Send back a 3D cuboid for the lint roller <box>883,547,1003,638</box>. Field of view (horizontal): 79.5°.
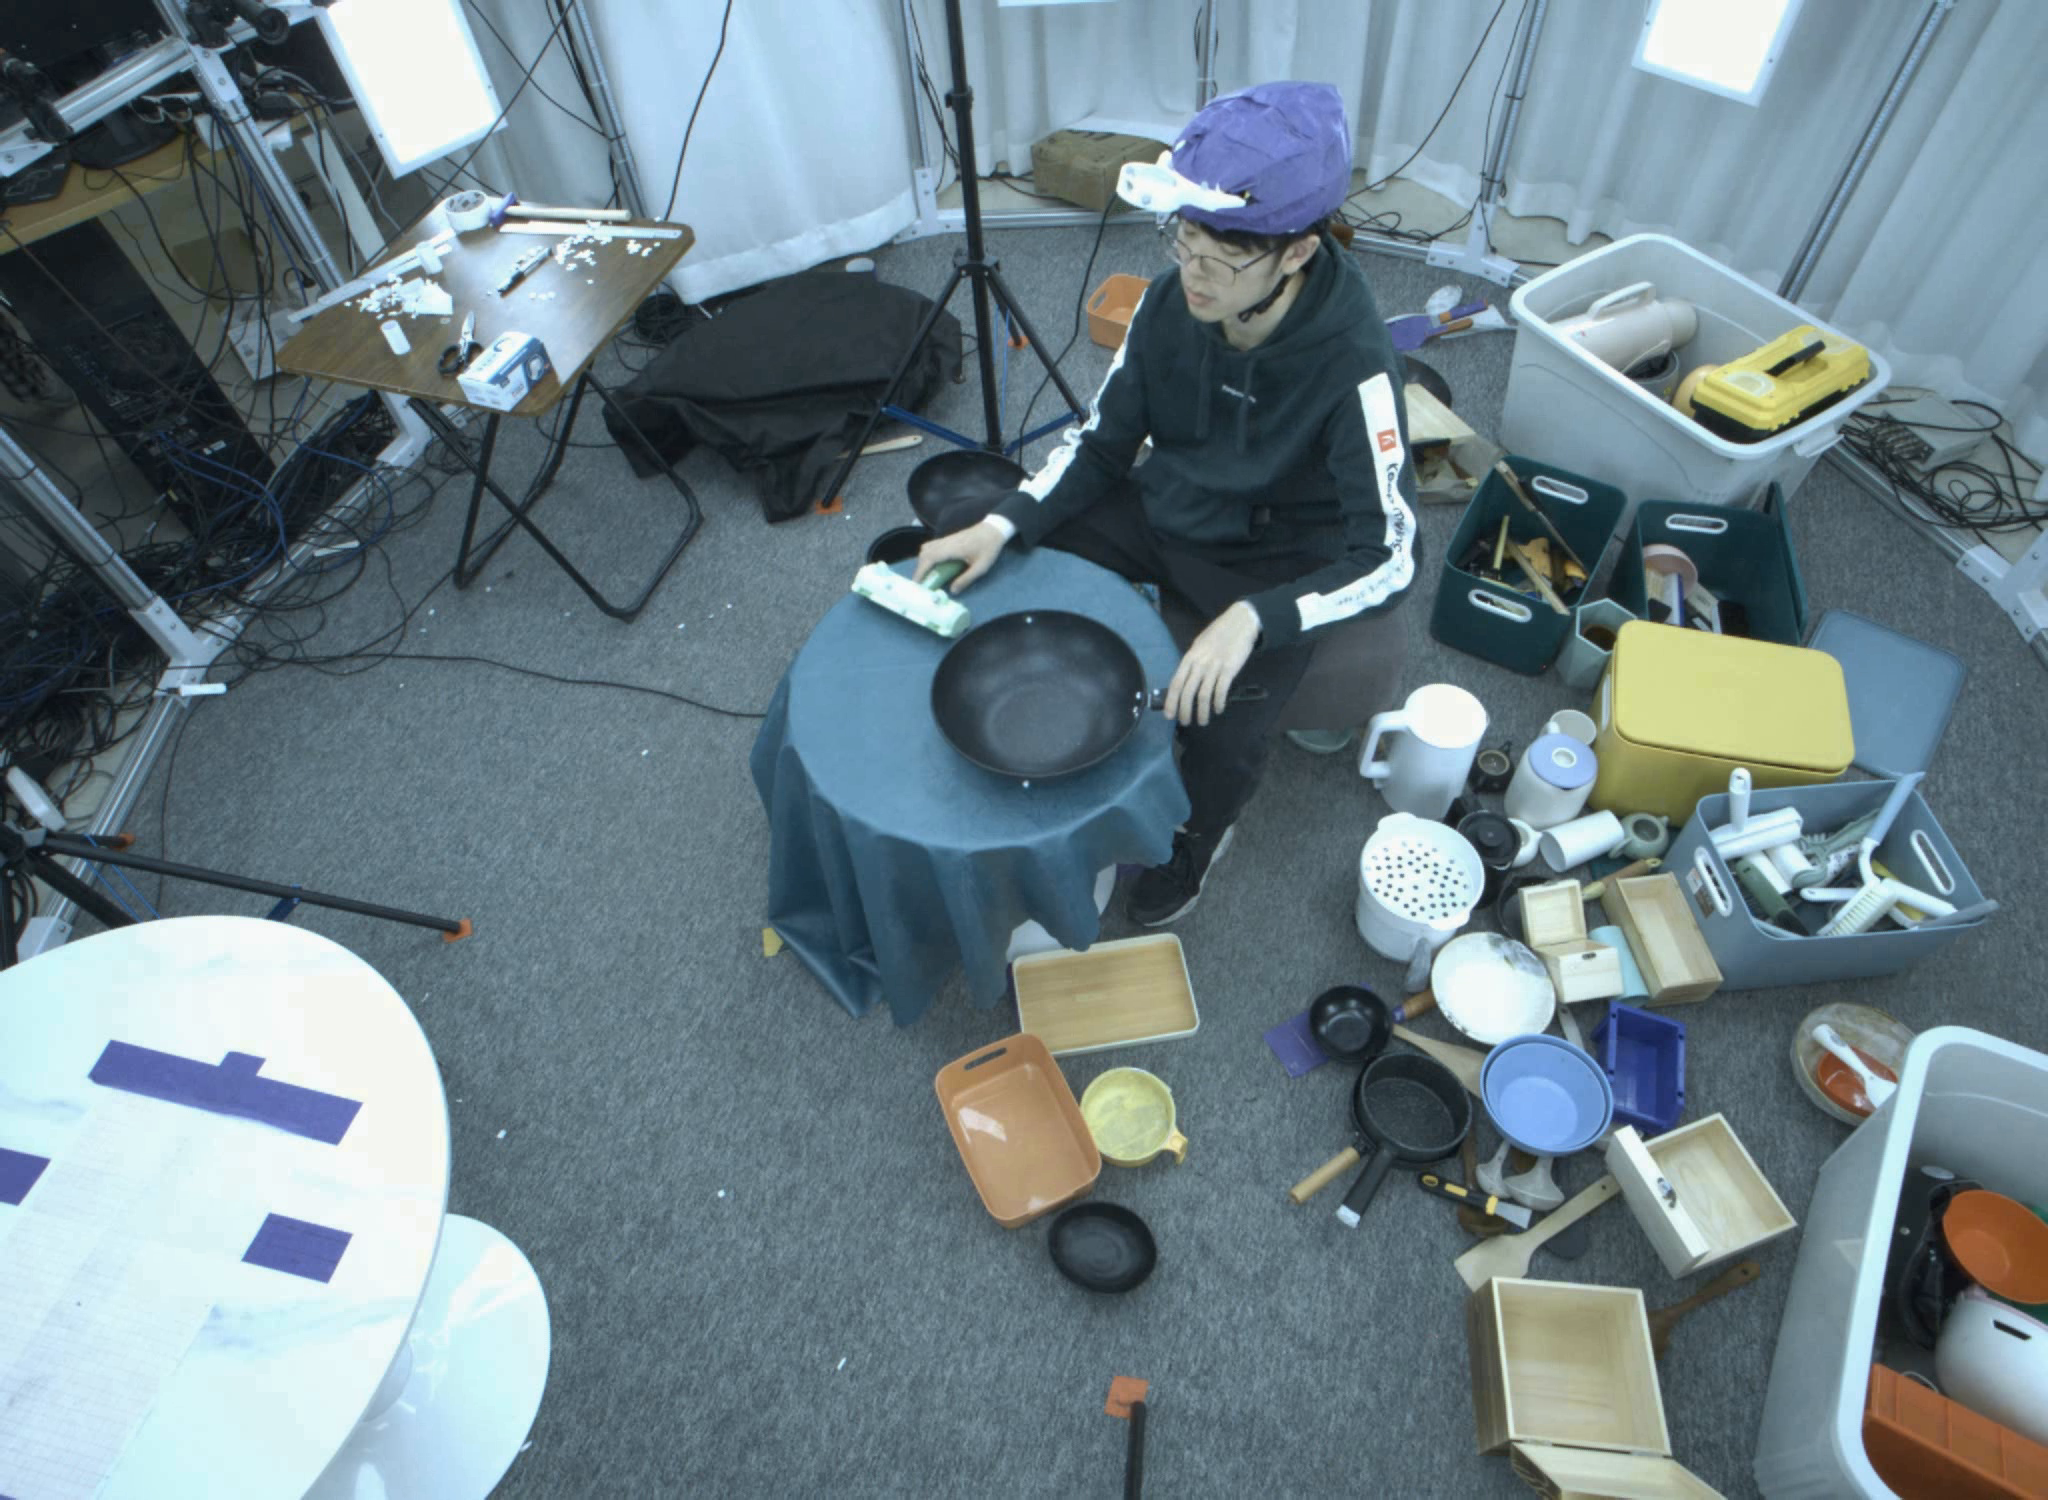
[{"bbox_3d":[-0.096,-0.279,1.938,0.195,0.083,0.184,30,66,22],"label":"lint roller"}]

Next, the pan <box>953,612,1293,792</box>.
[{"bbox_3d":[0.138,-0.055,1.752,0.474,0.113,0.308,5,56,7],"label":"pan"}]
